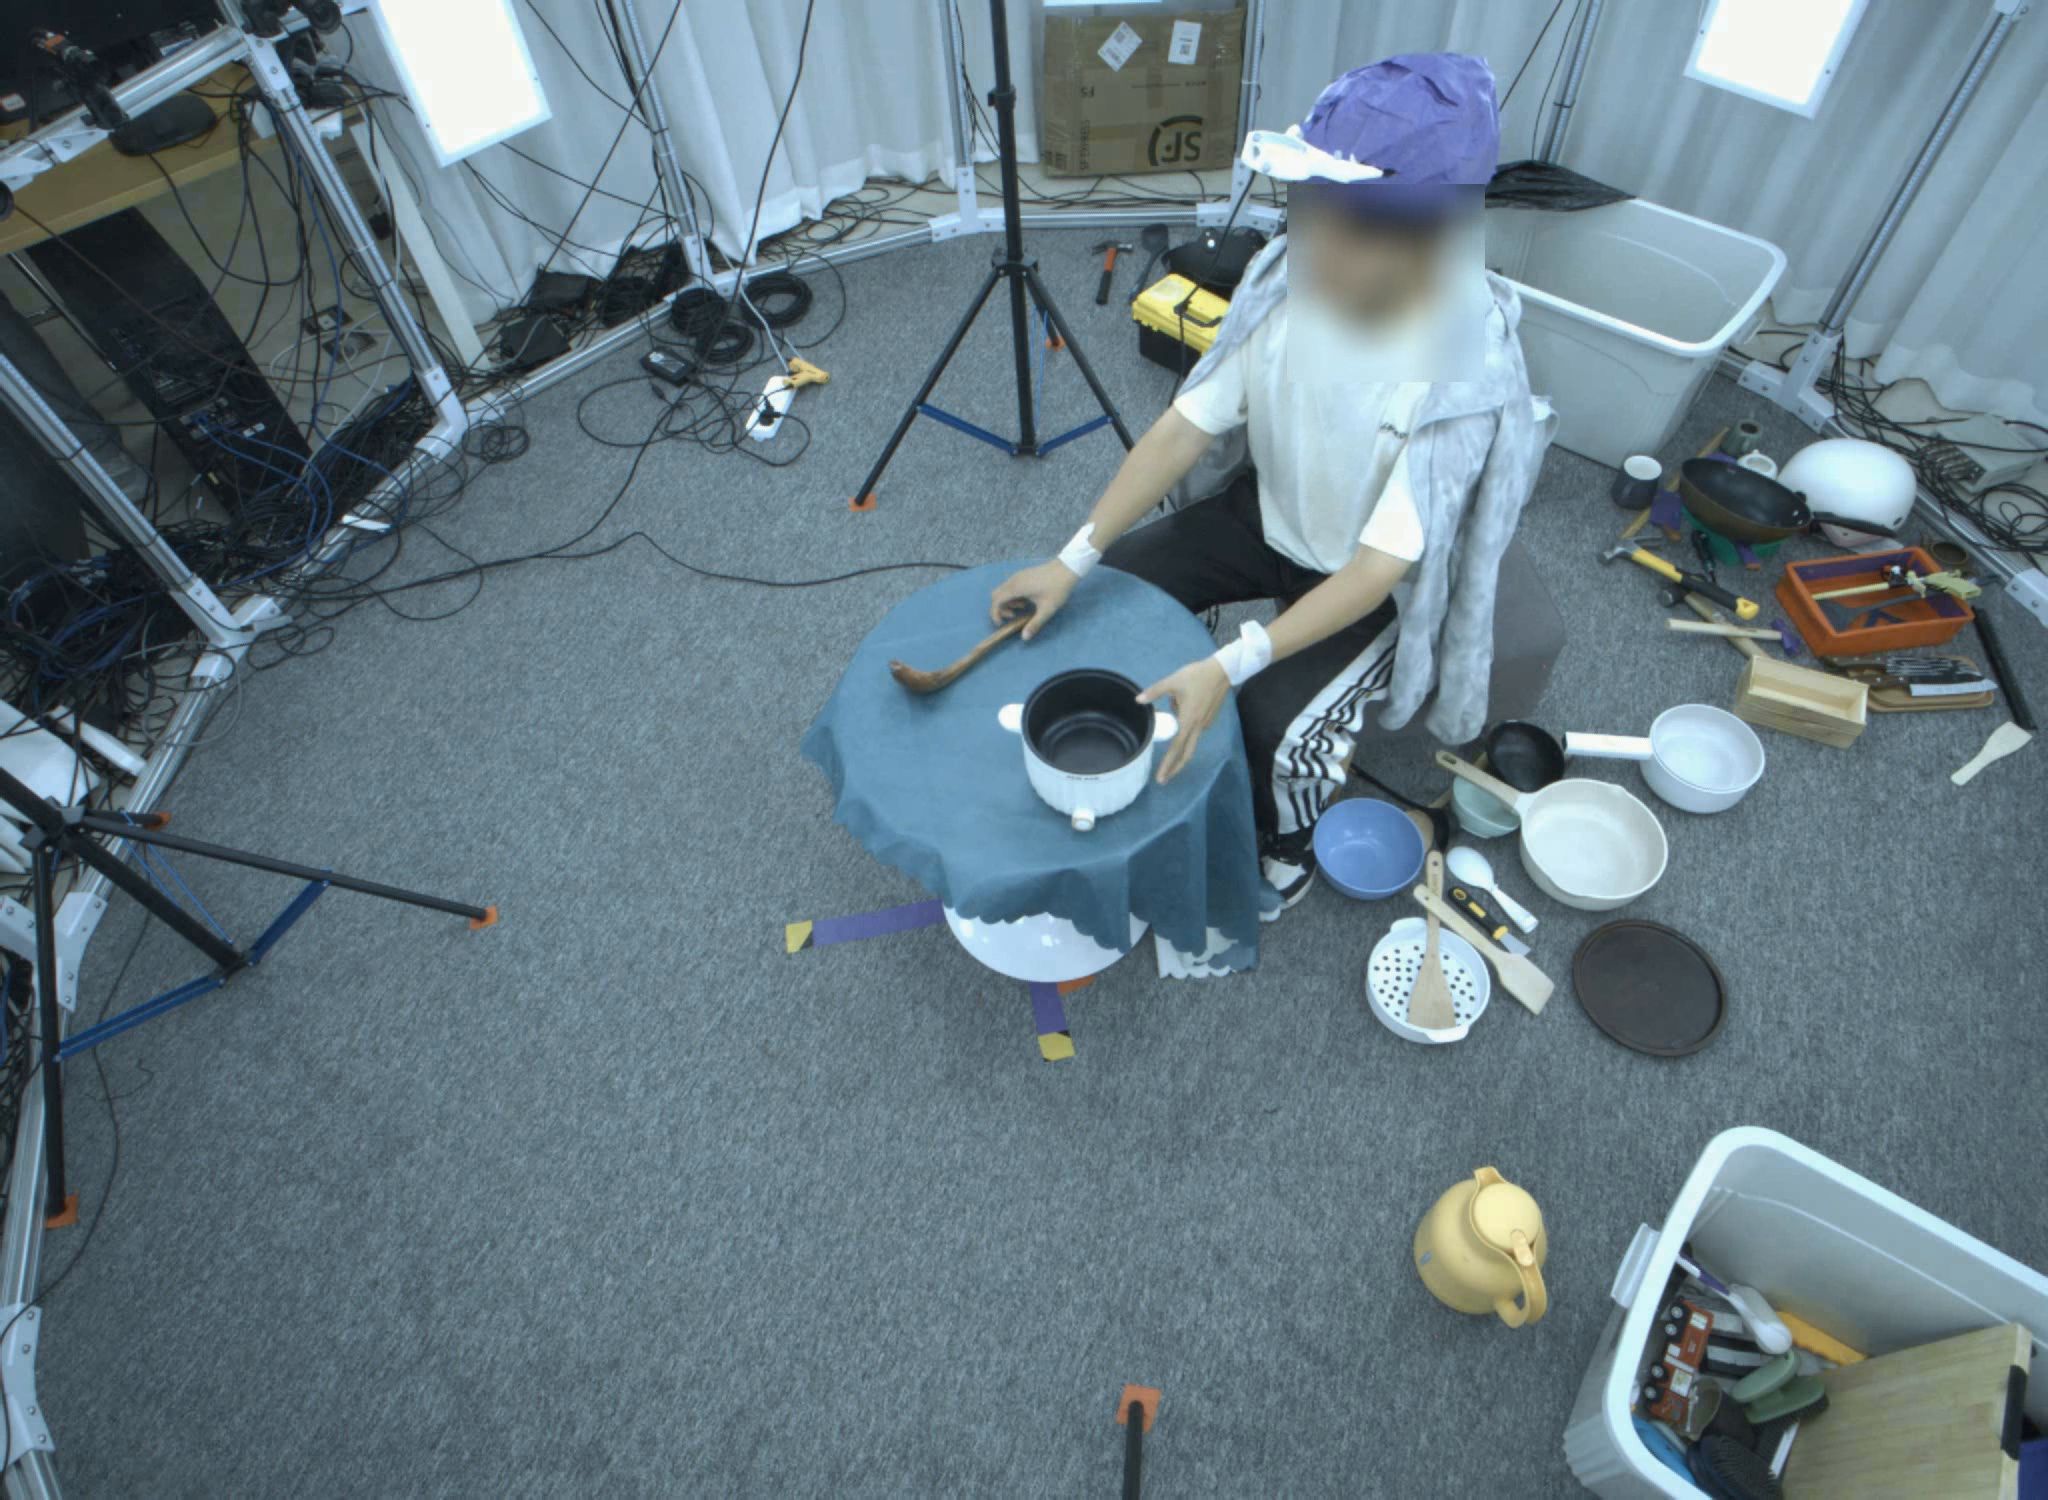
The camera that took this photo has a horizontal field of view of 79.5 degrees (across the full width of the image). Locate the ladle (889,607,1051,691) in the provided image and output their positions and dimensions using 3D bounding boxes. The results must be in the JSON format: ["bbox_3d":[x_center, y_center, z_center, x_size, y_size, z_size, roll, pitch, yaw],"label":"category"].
[{"bbox_3d":[-0.082,-0.172,1.868,0.276,0.078,0.080,-35,35,-20],"label":"ladle"}]

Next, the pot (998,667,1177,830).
[{"bbox_3d":[0.089,0.001,1.700,0.239,0.144,0.189,3,51,6],"label":"pot"}]
